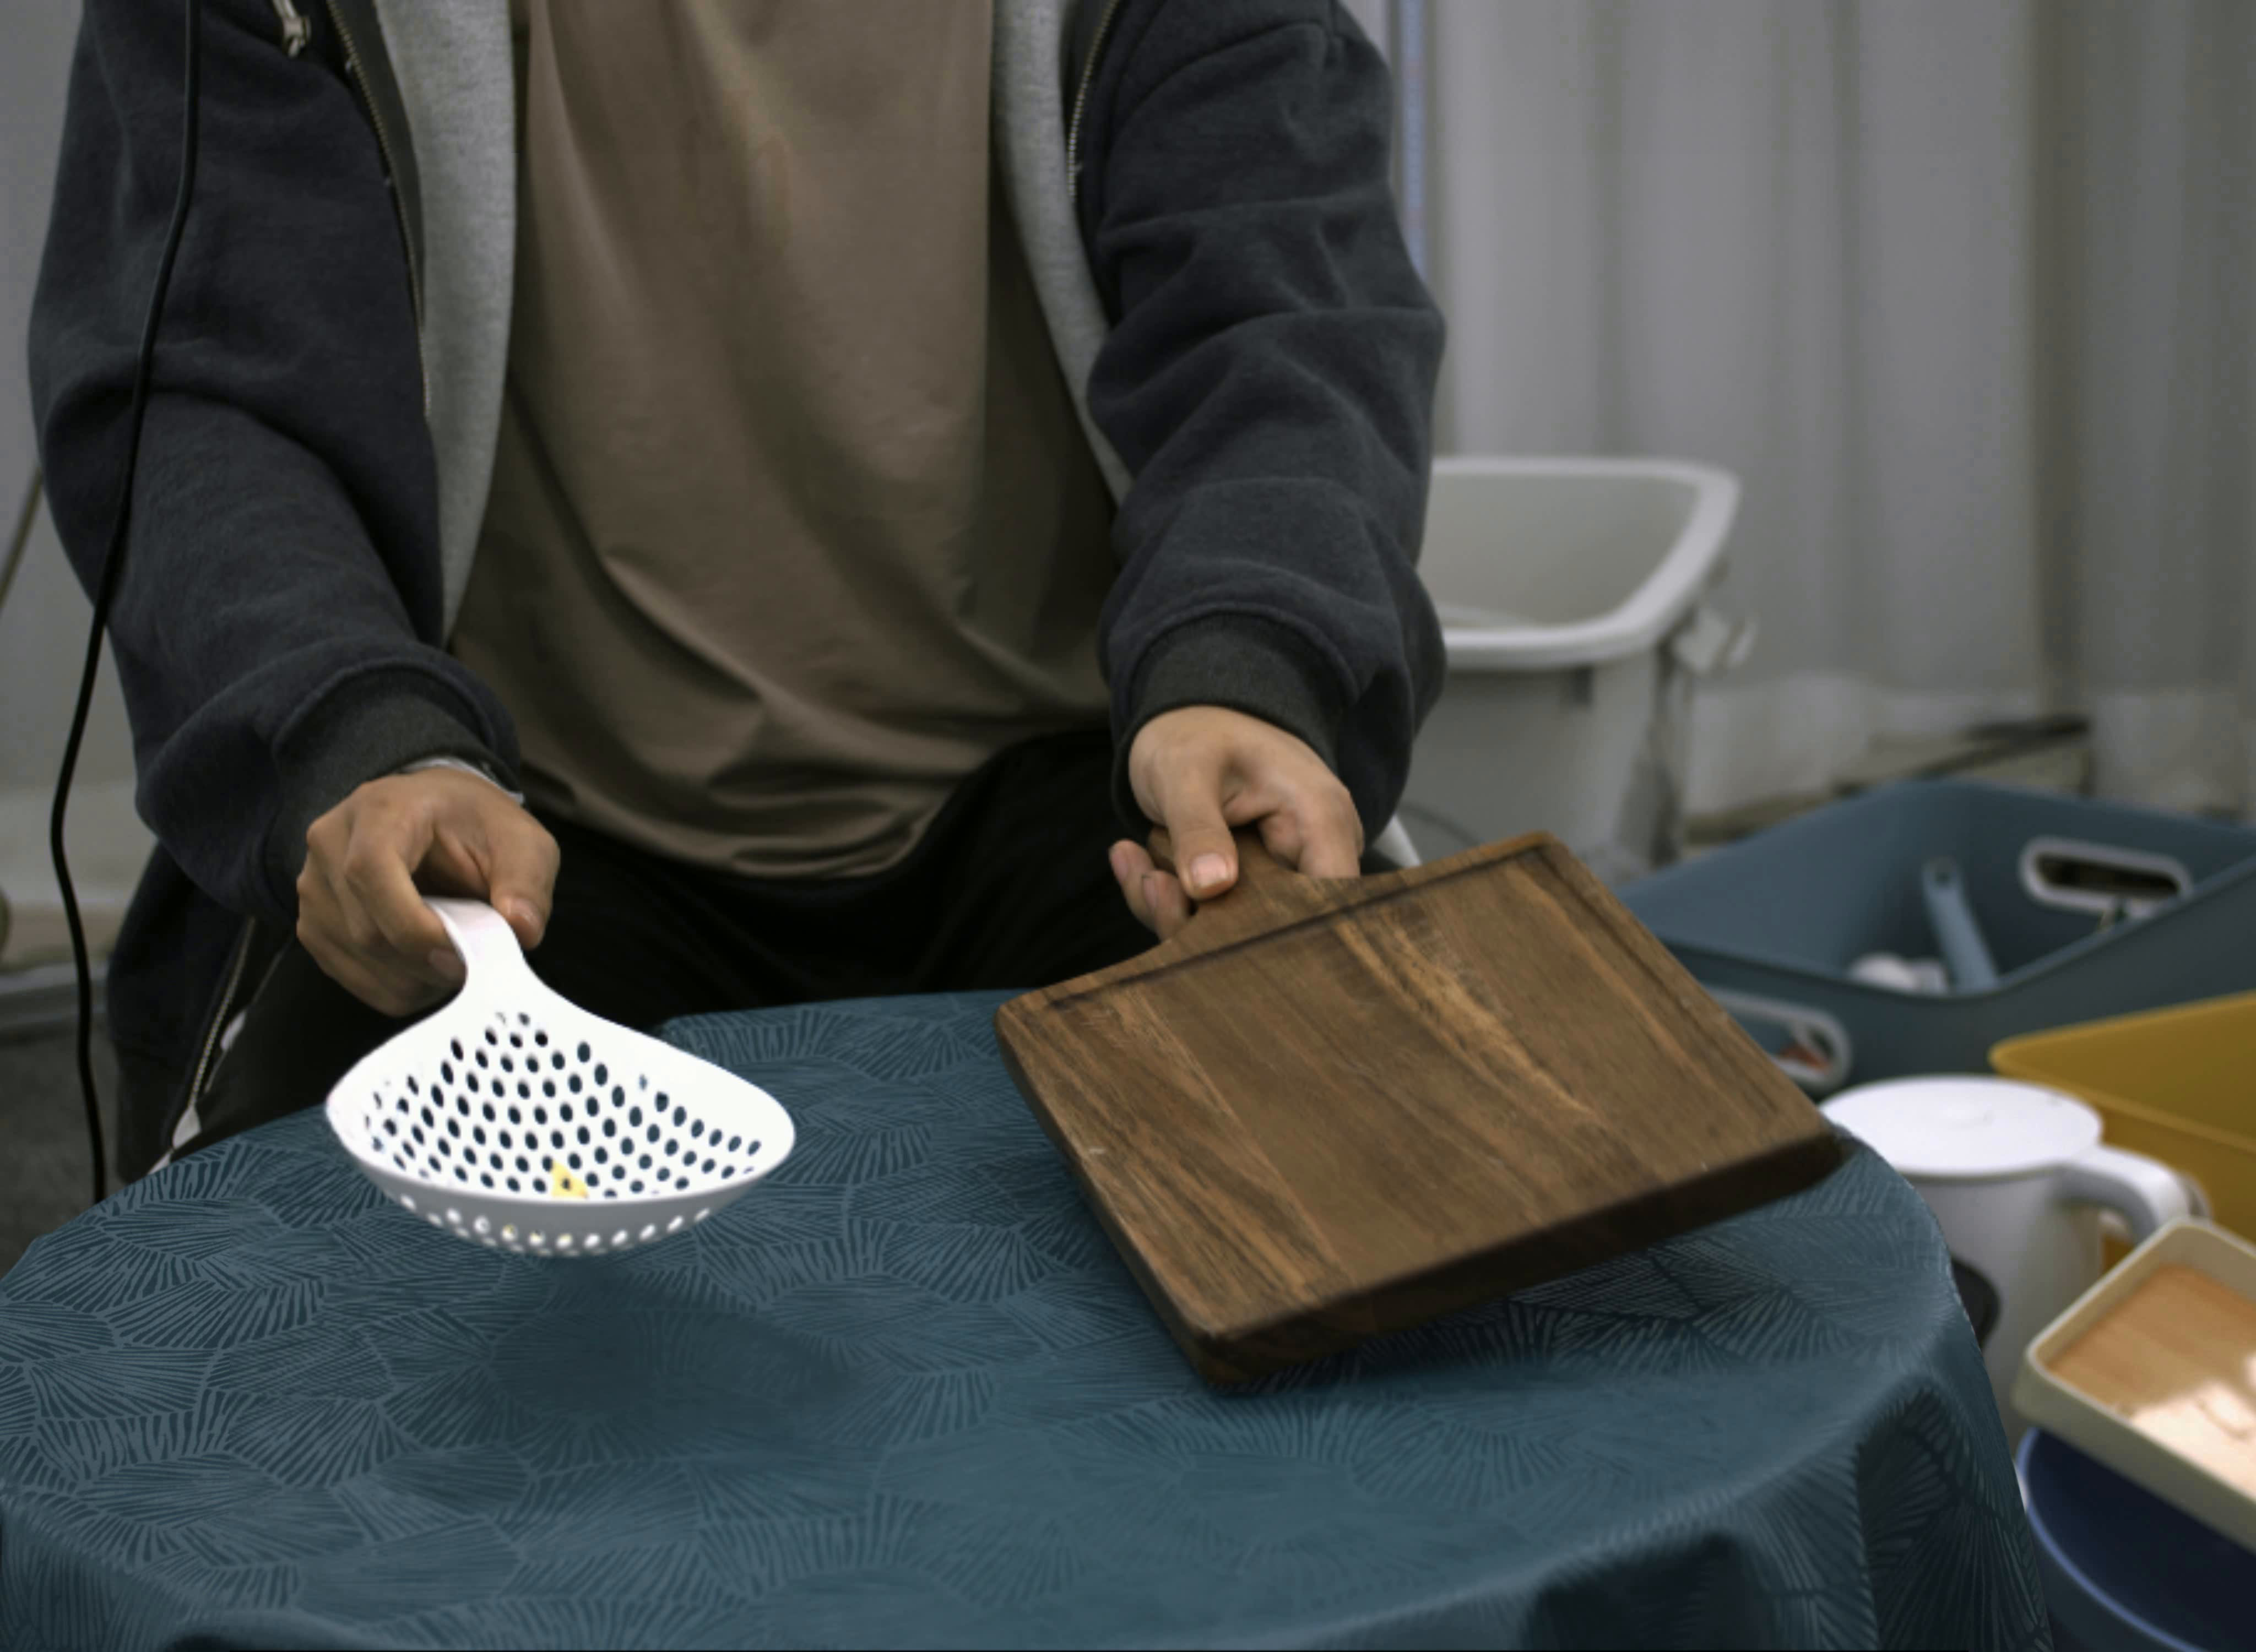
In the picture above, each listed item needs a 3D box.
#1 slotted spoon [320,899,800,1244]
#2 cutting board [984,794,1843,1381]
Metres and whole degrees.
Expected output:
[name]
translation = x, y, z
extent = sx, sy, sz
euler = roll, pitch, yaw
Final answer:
[slotted spoon]
translation = -0.192, 0.061, 1.675
extent = 0.136, 0.050, 0.351
euler = -1, 19, -15
[cutting board]
translation = 0.067, 0.060, 1.701
extent = 0.200, 0.023, 0.356
euler = -18, 24, -9
